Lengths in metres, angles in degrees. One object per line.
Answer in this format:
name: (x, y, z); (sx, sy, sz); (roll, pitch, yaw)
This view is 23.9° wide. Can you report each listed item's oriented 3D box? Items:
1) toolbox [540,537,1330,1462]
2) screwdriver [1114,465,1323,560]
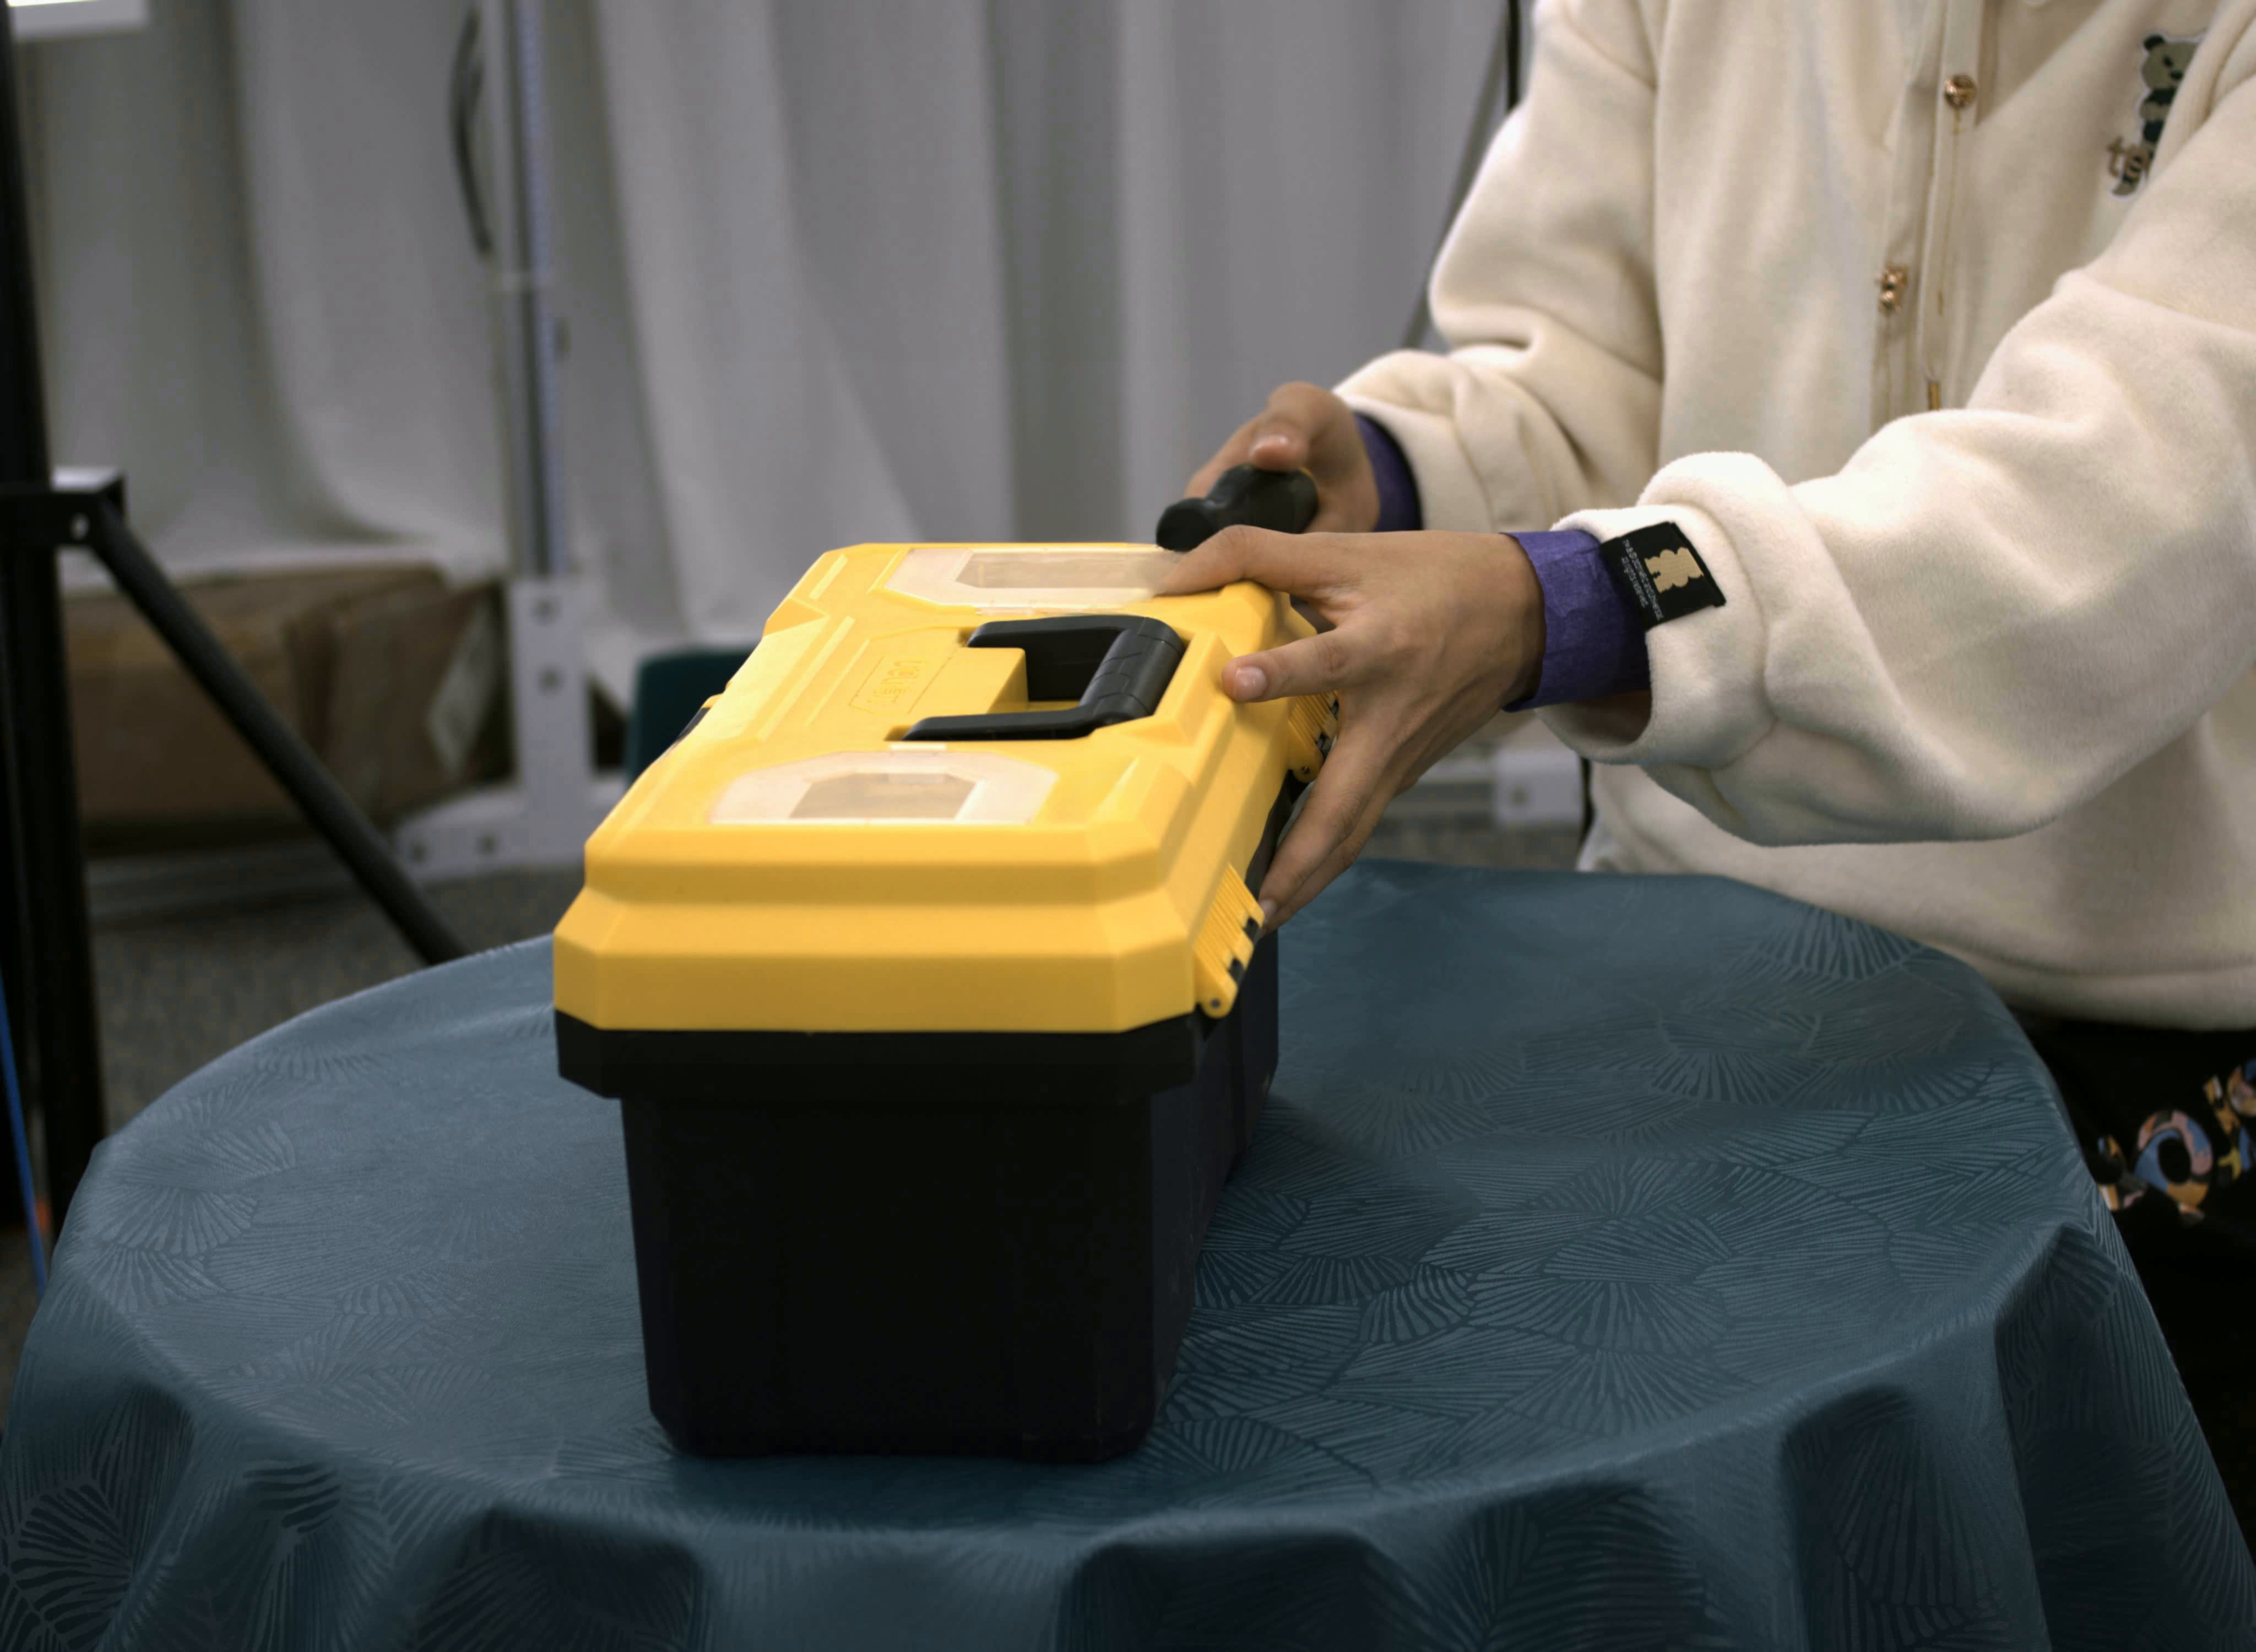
toolbox: (-0.042, 0.039, 1.492); (0.182, 0.173, 0.350); (0, 16, 9)
screwdriver: (0.023, -0.091, 1.719); (0.032, 0.031, 0.195); (4, 13, 20)
